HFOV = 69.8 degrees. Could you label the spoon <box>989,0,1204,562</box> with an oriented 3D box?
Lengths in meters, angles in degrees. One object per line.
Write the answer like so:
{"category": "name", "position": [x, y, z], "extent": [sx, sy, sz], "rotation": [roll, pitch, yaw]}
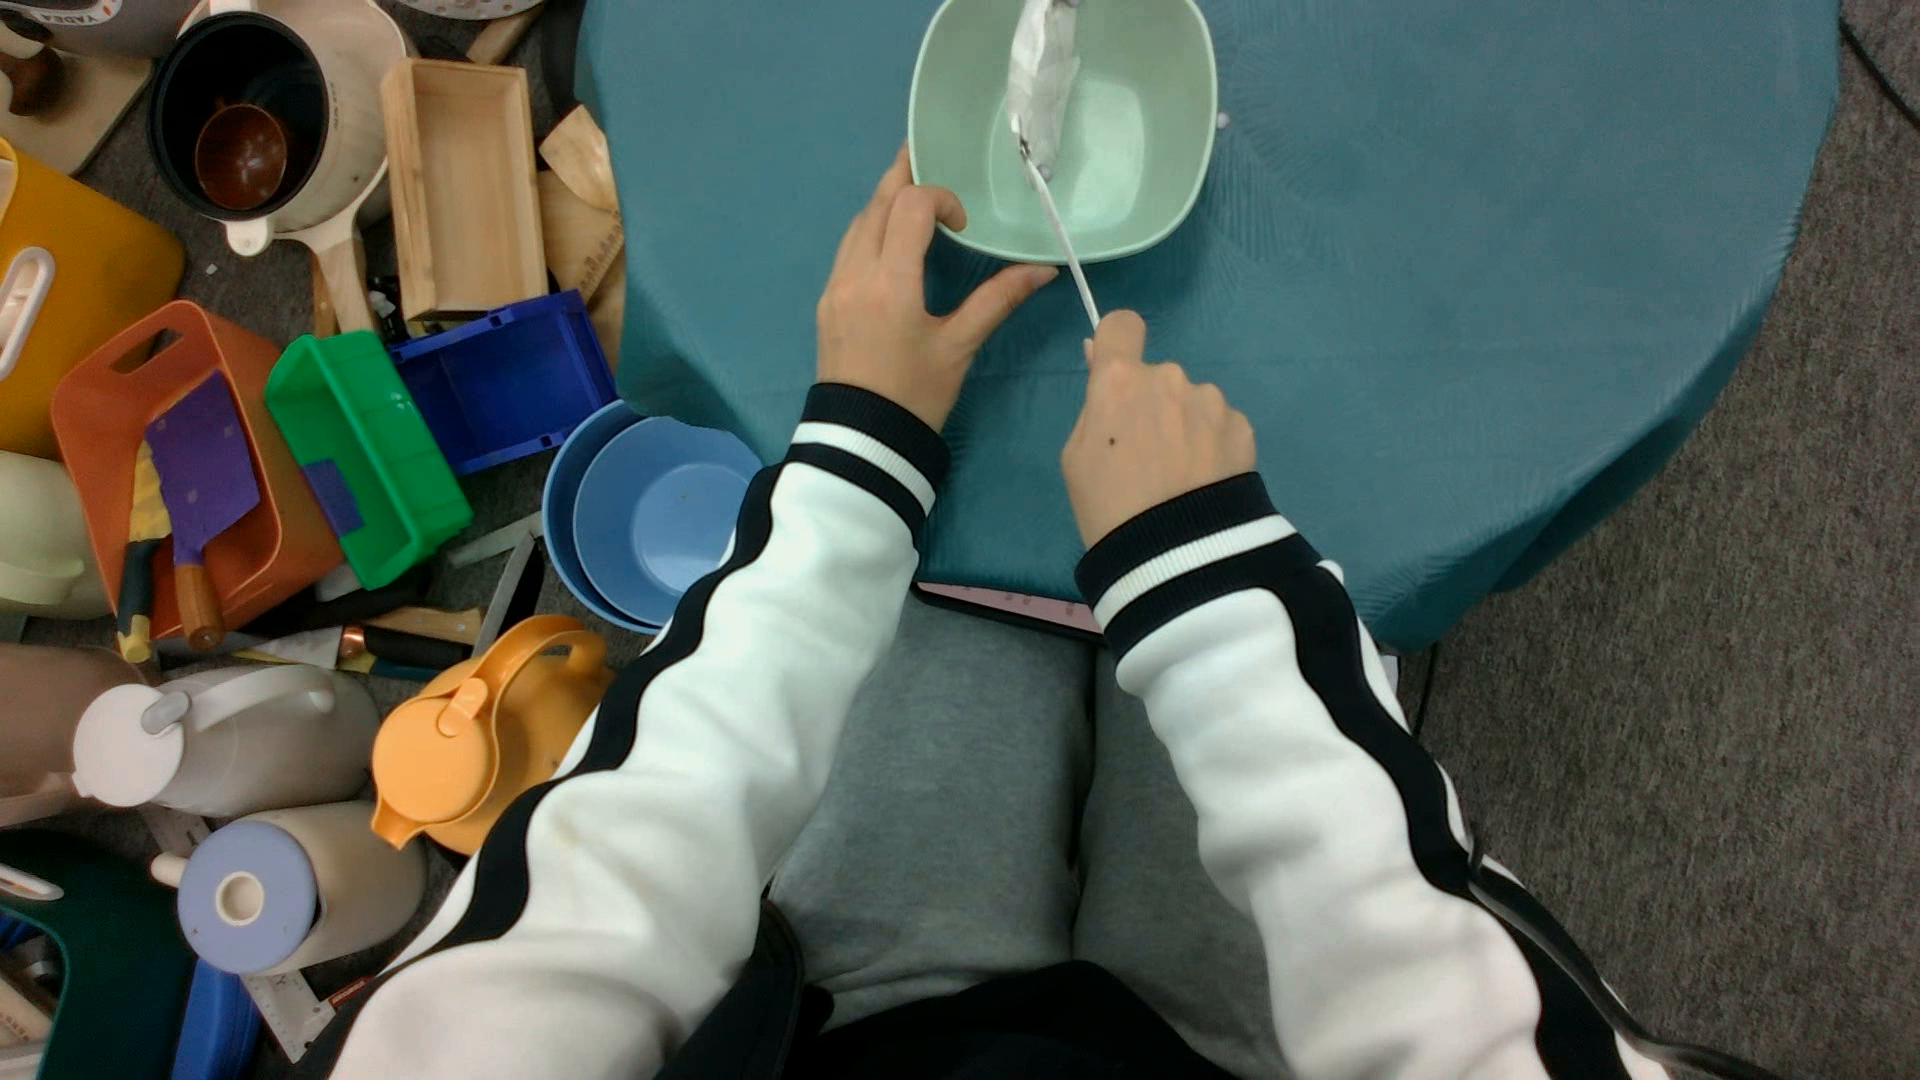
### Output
{"category": "spoon", "position": [0.068, -0.126, 0.577], "extent": [0.059, 0.100, 0.278], "rotation": [-23, 72, 5]}

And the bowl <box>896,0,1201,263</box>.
{"category": "bowl", "position": [0.043, -0.191, 0.652], "extent": [0.151, 0.058, 0.151], "rotation": [-1, 83, 7]}
